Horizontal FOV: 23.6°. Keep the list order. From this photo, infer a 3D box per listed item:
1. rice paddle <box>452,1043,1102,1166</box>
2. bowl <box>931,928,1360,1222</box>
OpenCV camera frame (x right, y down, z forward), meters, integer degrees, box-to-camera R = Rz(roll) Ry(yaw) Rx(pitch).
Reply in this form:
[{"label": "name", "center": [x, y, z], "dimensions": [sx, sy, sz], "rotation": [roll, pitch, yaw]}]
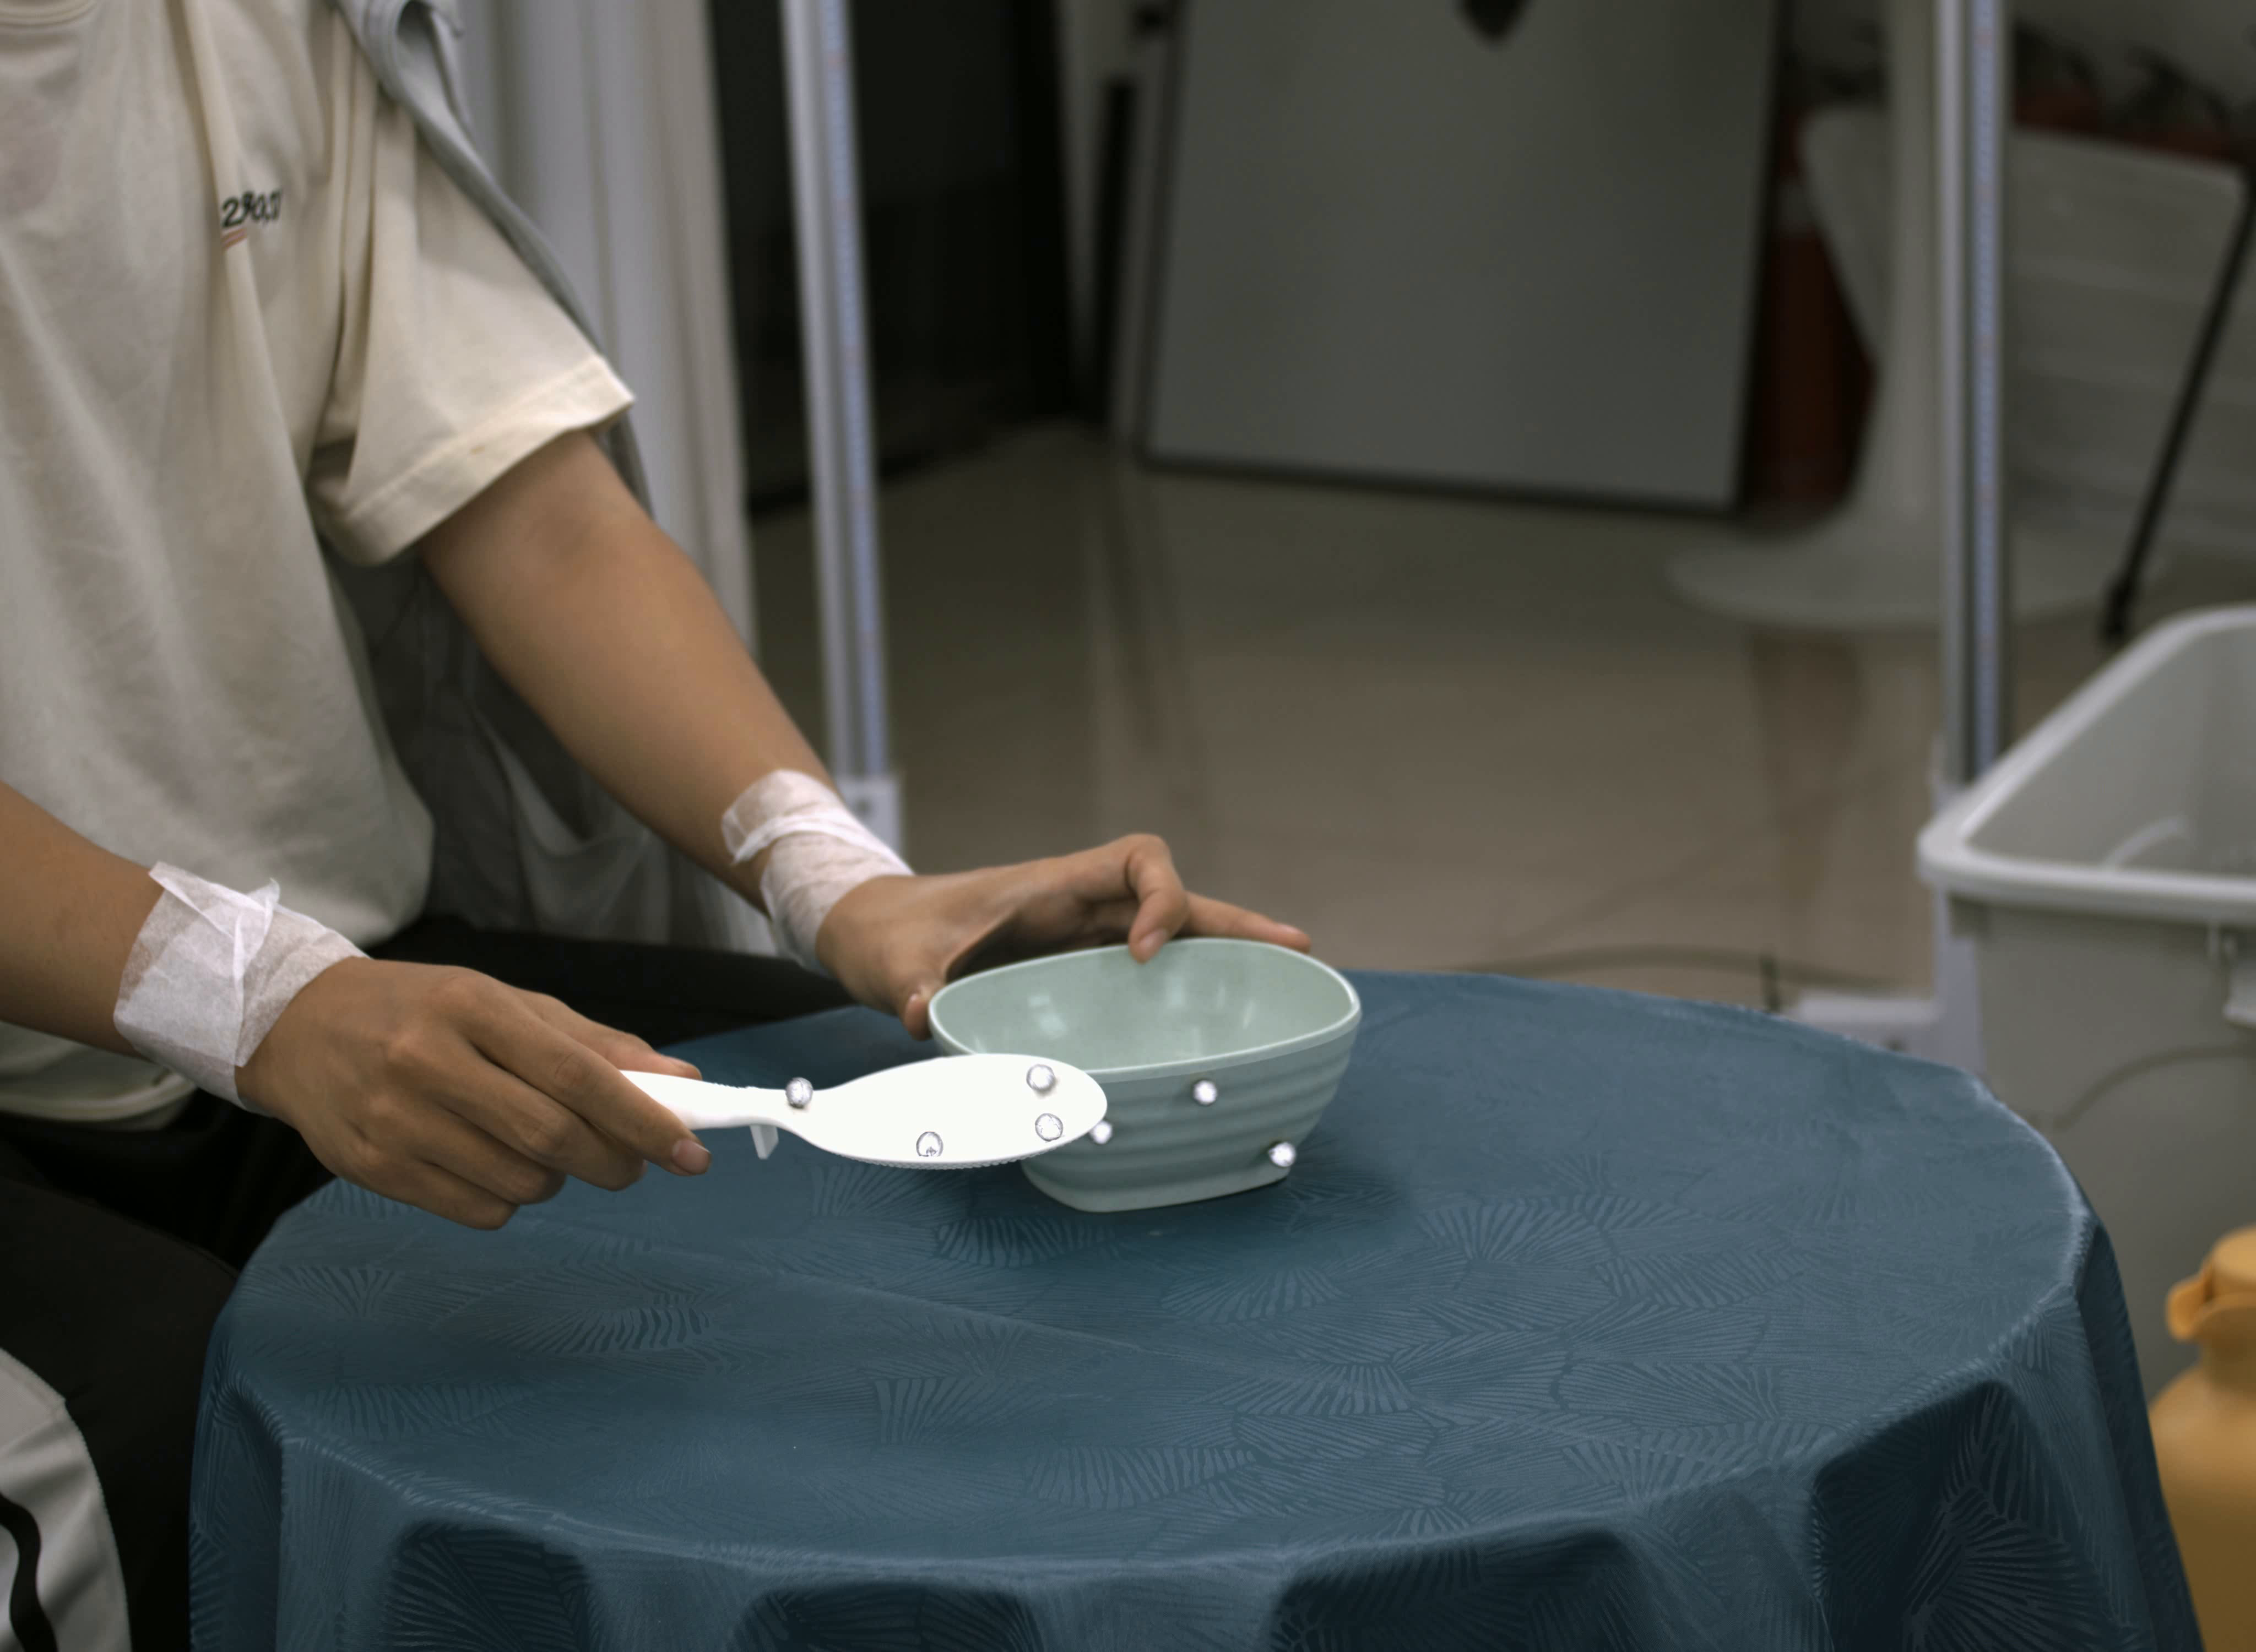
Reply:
[{"label": "rice paddle", "center": [-0.105, 0.084, 1.629], "dimensions": [0.204, 0.029, 0.068], "rotation": [-2, 27, 18]}, {"label": "bowl", "center": [0.007, 0.086, 1.788], "dimensions": [0.149, 0.059, 0.152], "rotation": [-5, 18, 1]}]
